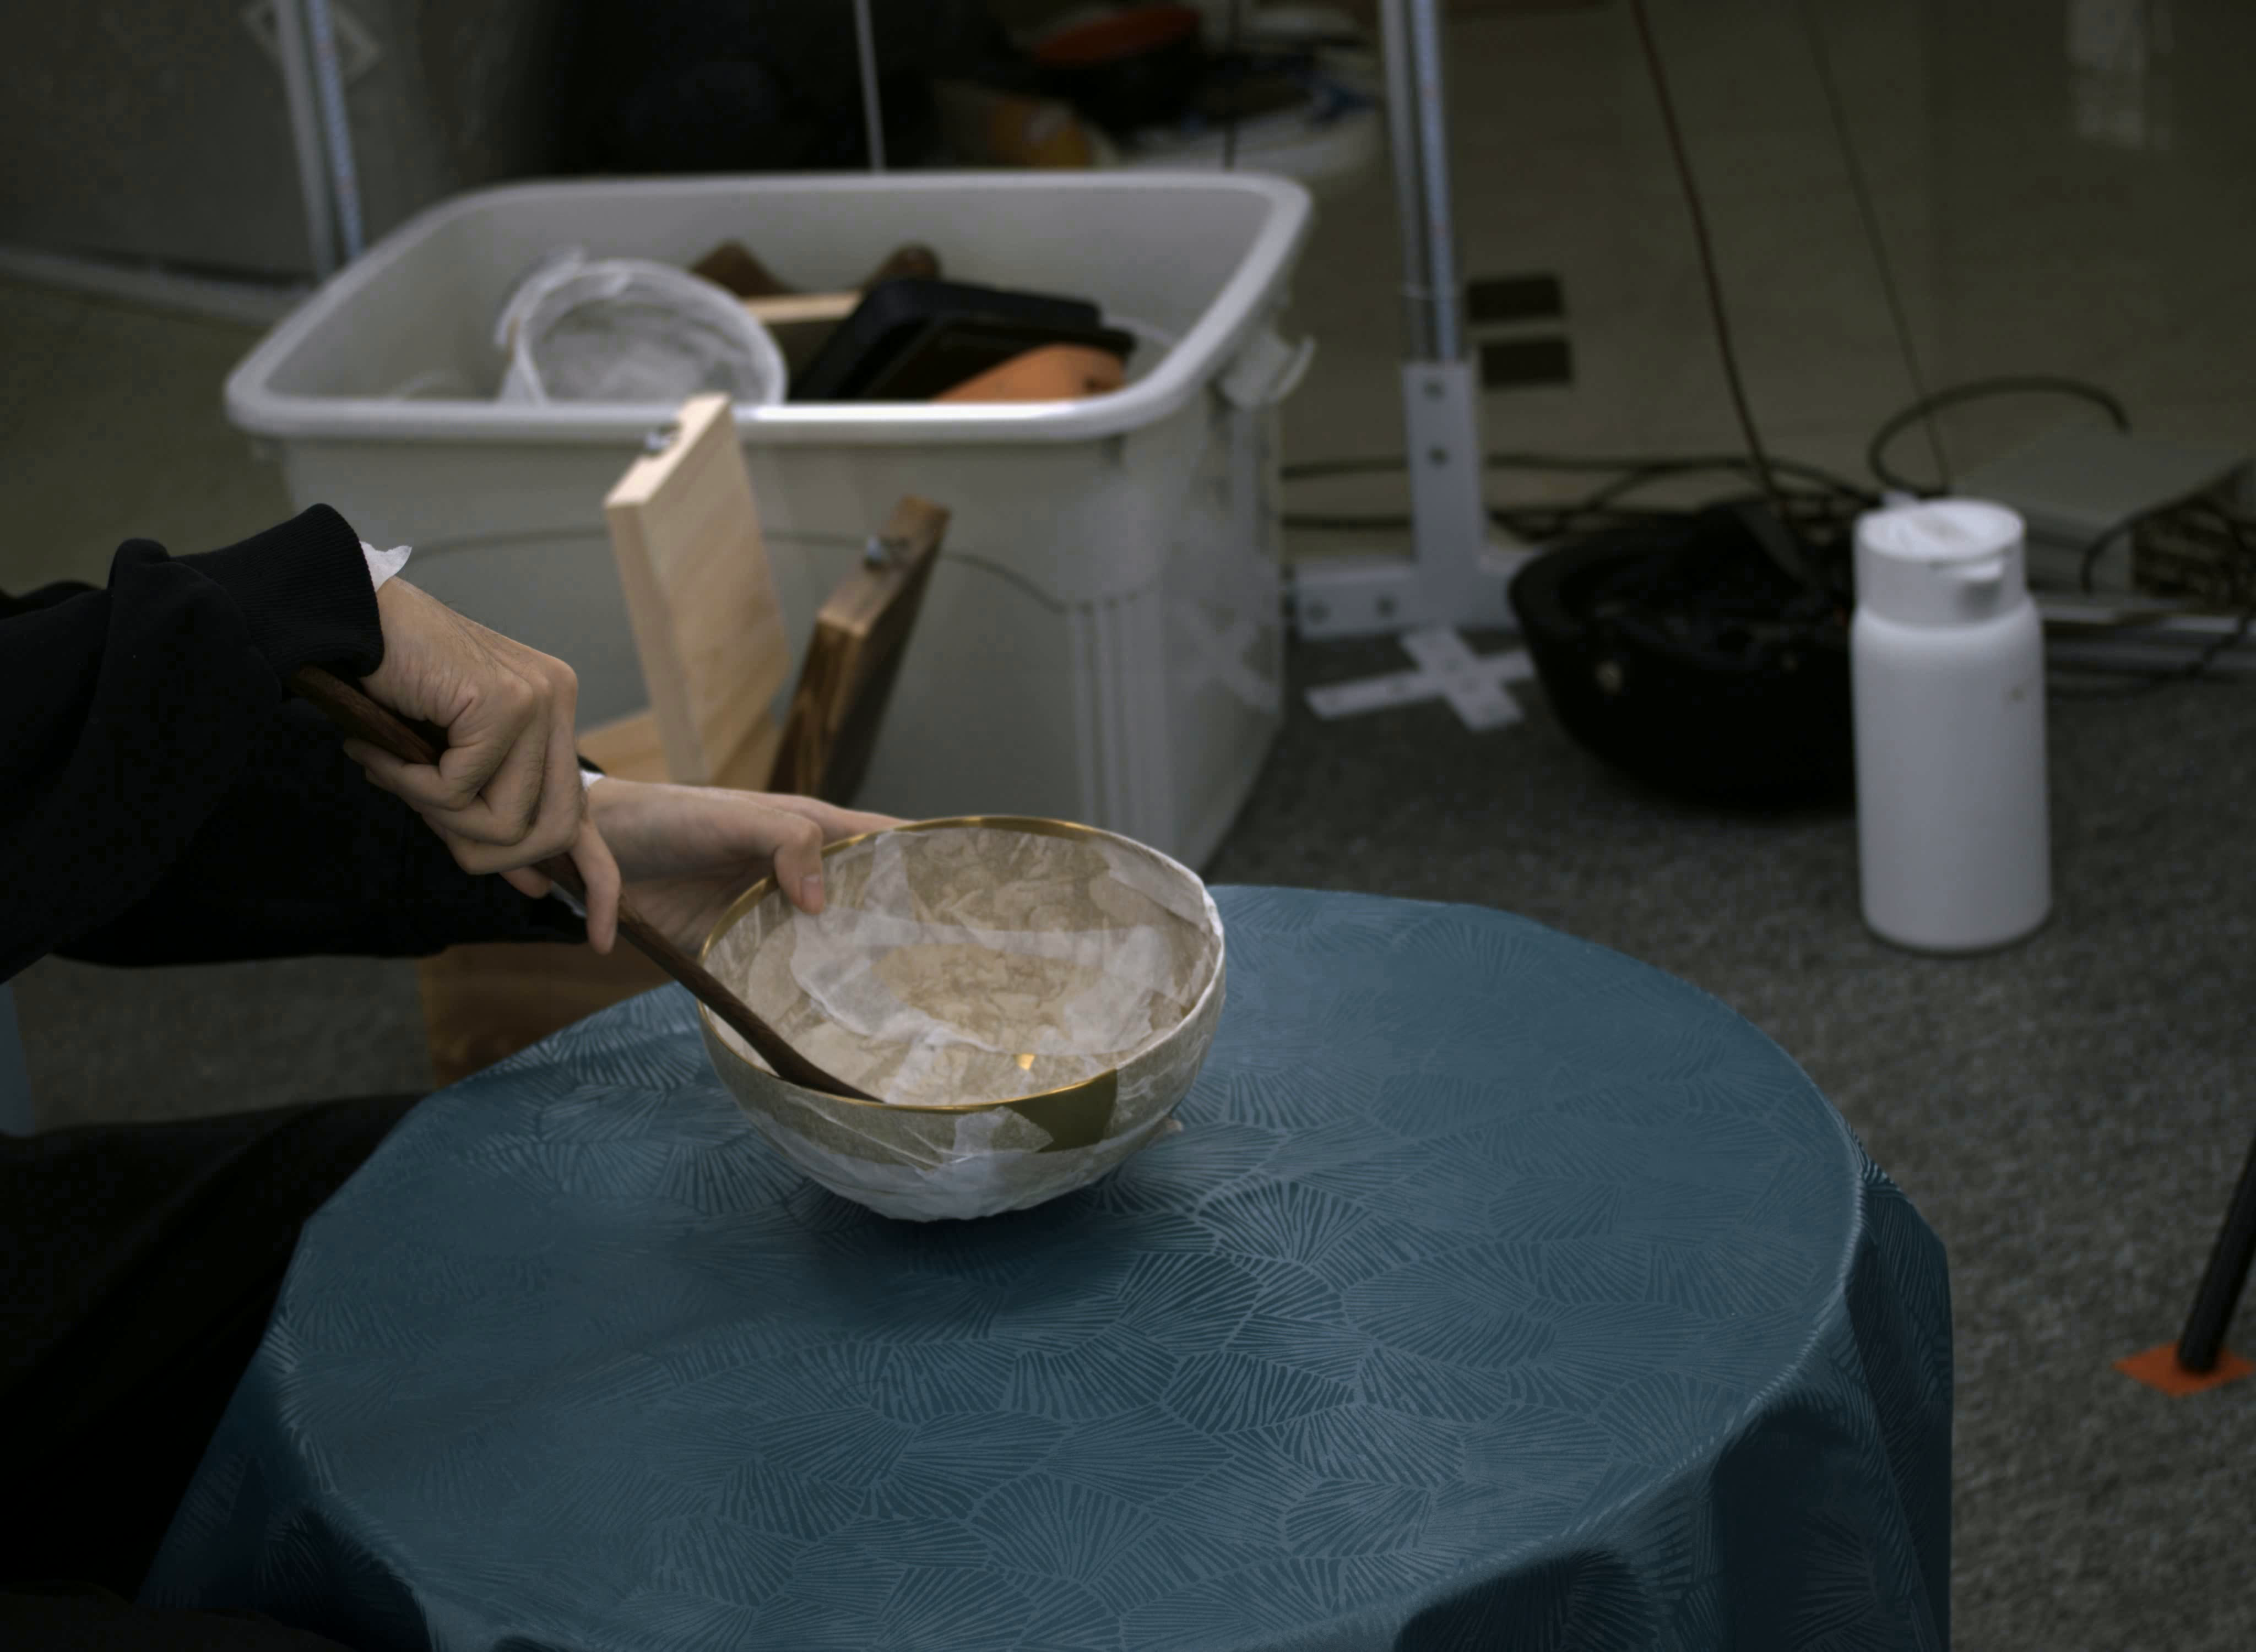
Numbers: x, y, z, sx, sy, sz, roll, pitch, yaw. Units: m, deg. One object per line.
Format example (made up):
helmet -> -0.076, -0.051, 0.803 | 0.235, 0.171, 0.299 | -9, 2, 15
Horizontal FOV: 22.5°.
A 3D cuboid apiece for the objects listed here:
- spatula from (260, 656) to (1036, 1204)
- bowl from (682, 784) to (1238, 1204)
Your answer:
spatula -> -0.173, 0.041, 2.036 | 0.095, 0.391, 0.015 | 14, 69, 49
bowl -> -0.066, 0.078, 2.161 | 0.214, 0.096, 0.211 | 3, 36, -2
